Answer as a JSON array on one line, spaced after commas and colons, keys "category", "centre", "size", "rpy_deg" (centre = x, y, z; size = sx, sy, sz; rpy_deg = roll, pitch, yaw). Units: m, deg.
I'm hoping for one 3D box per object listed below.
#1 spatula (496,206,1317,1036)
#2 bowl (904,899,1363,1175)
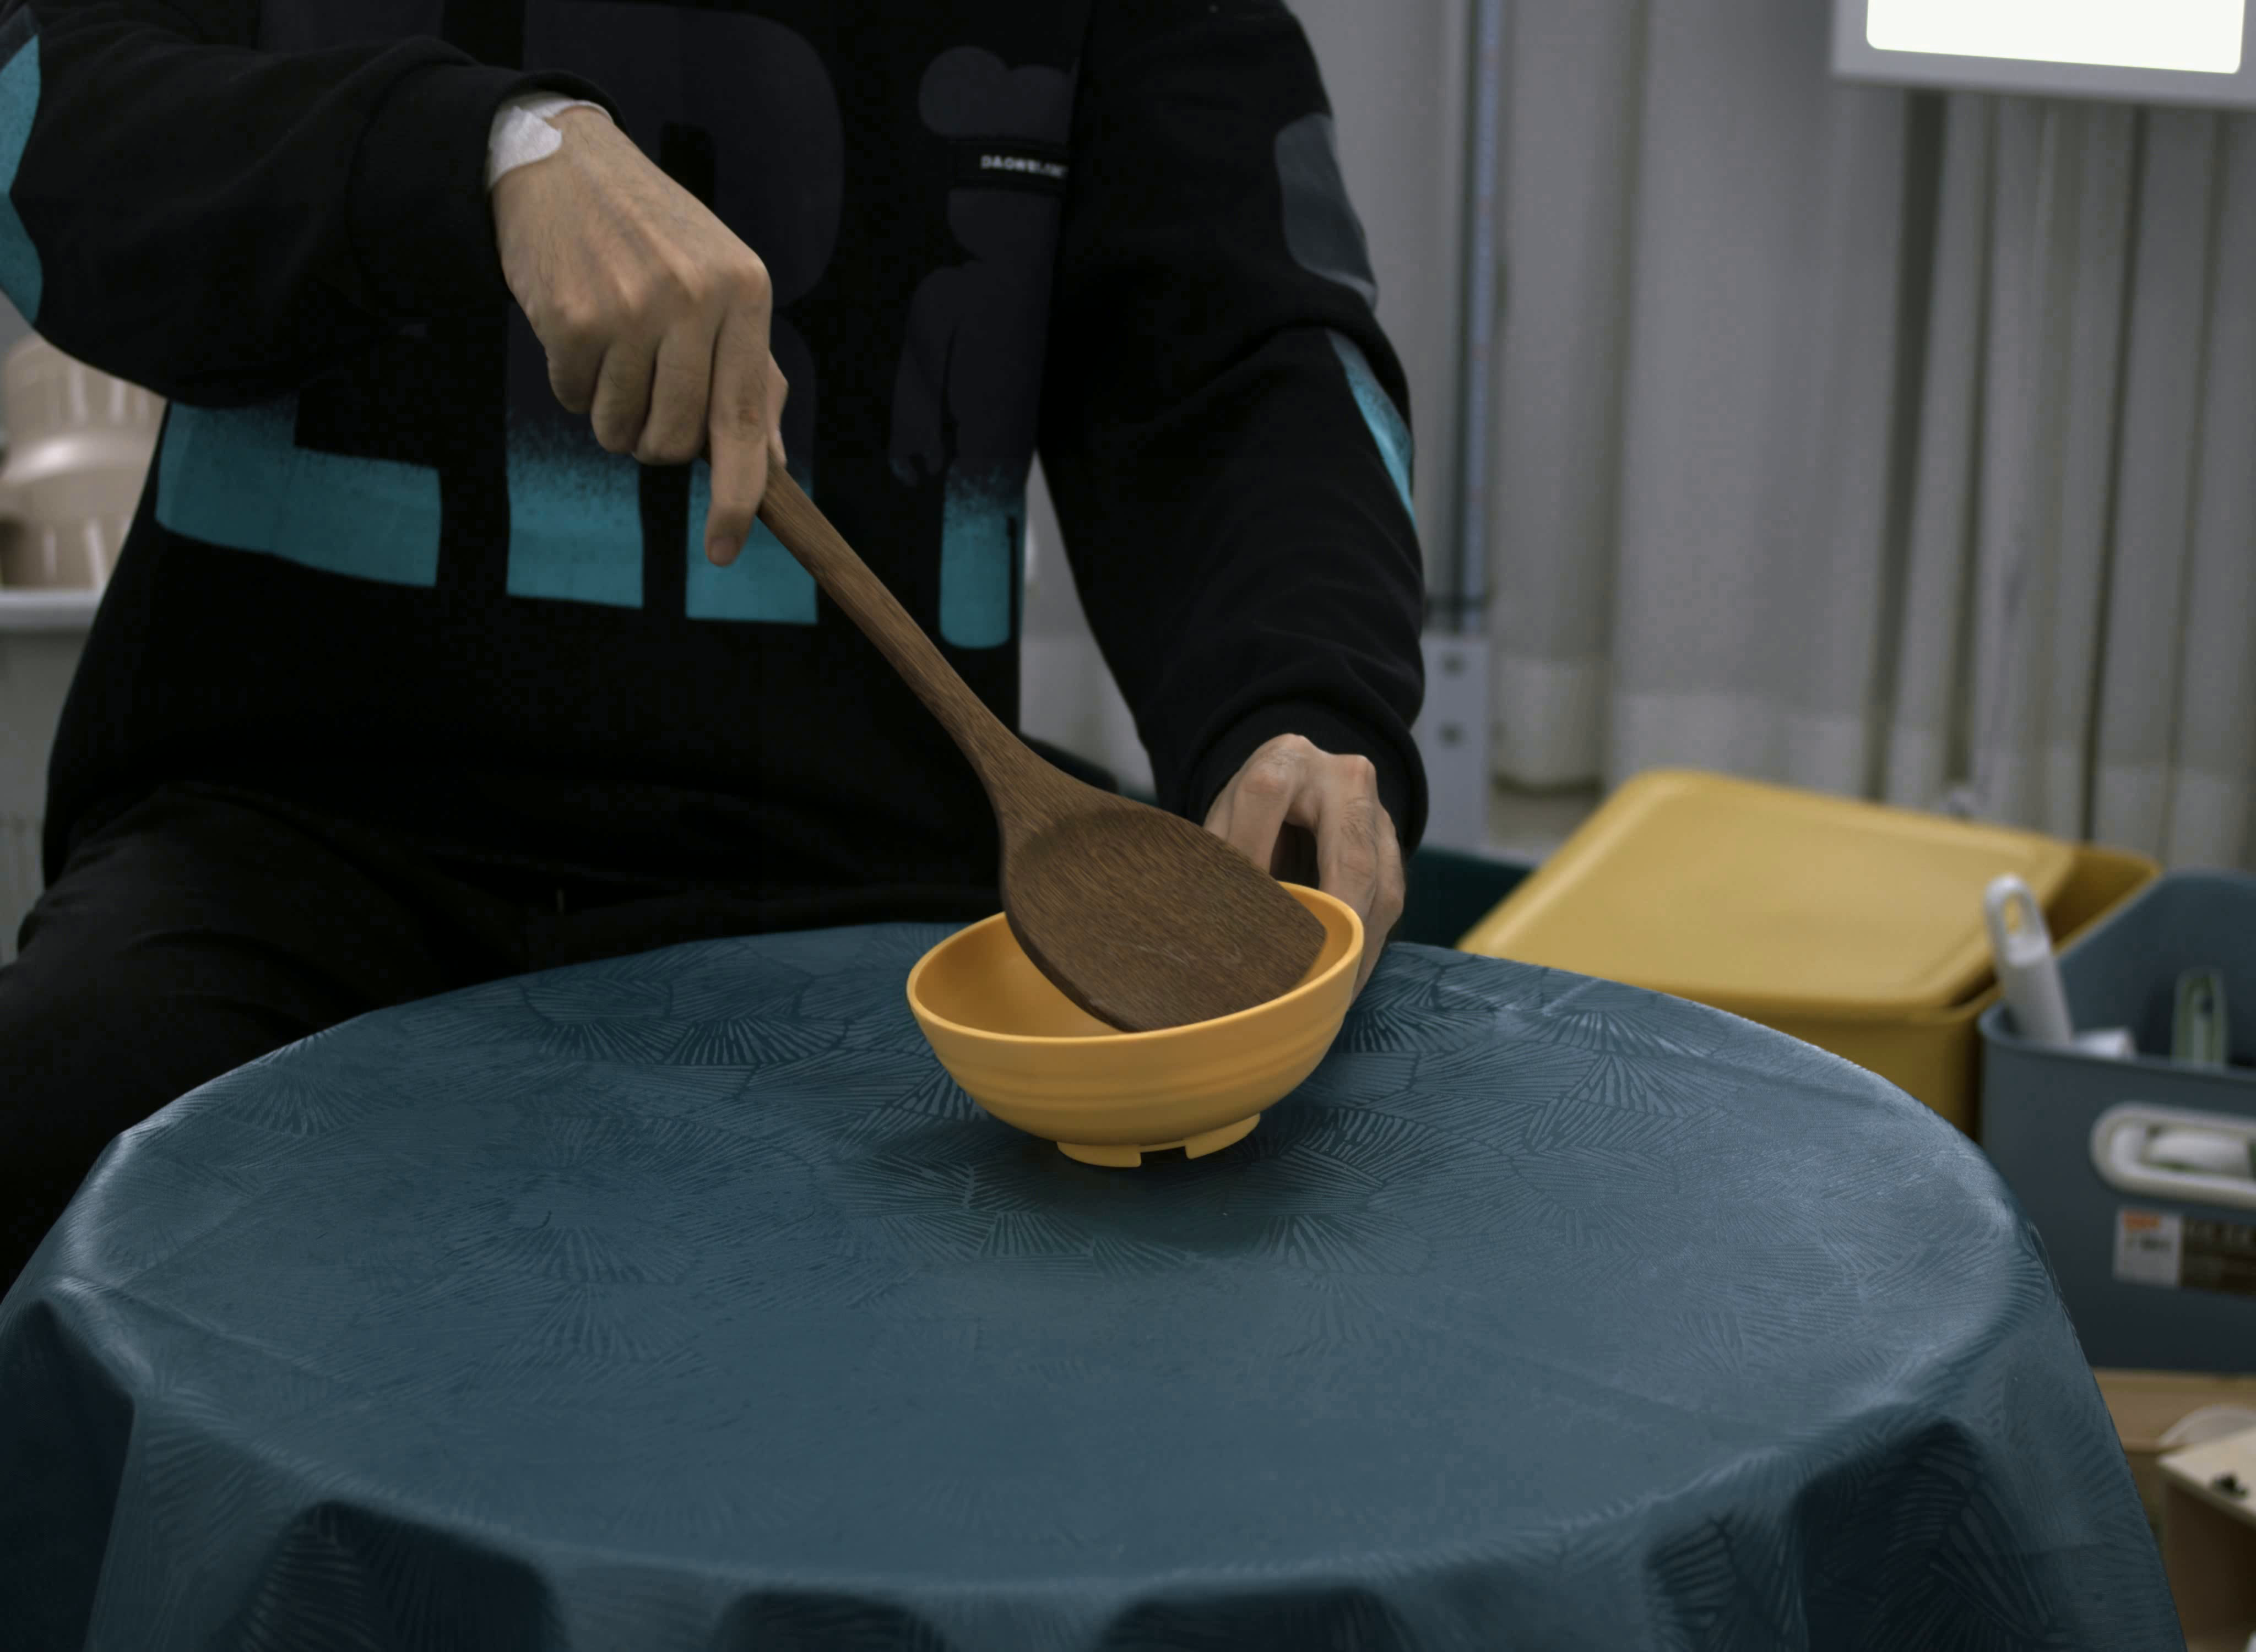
[{"category": "spatula", "centre": [-0.085, -0.074, 1.683], "size": [0.096, 0.016, 0.382], "rpy_deg": [-25, 64, -39]}, {"category": "bowl", "centre": [0.004, 0.070, 1.658], "size": [0.145, 0.060, 0.144], "rpy_deg": [-4, 17, 2]}]
